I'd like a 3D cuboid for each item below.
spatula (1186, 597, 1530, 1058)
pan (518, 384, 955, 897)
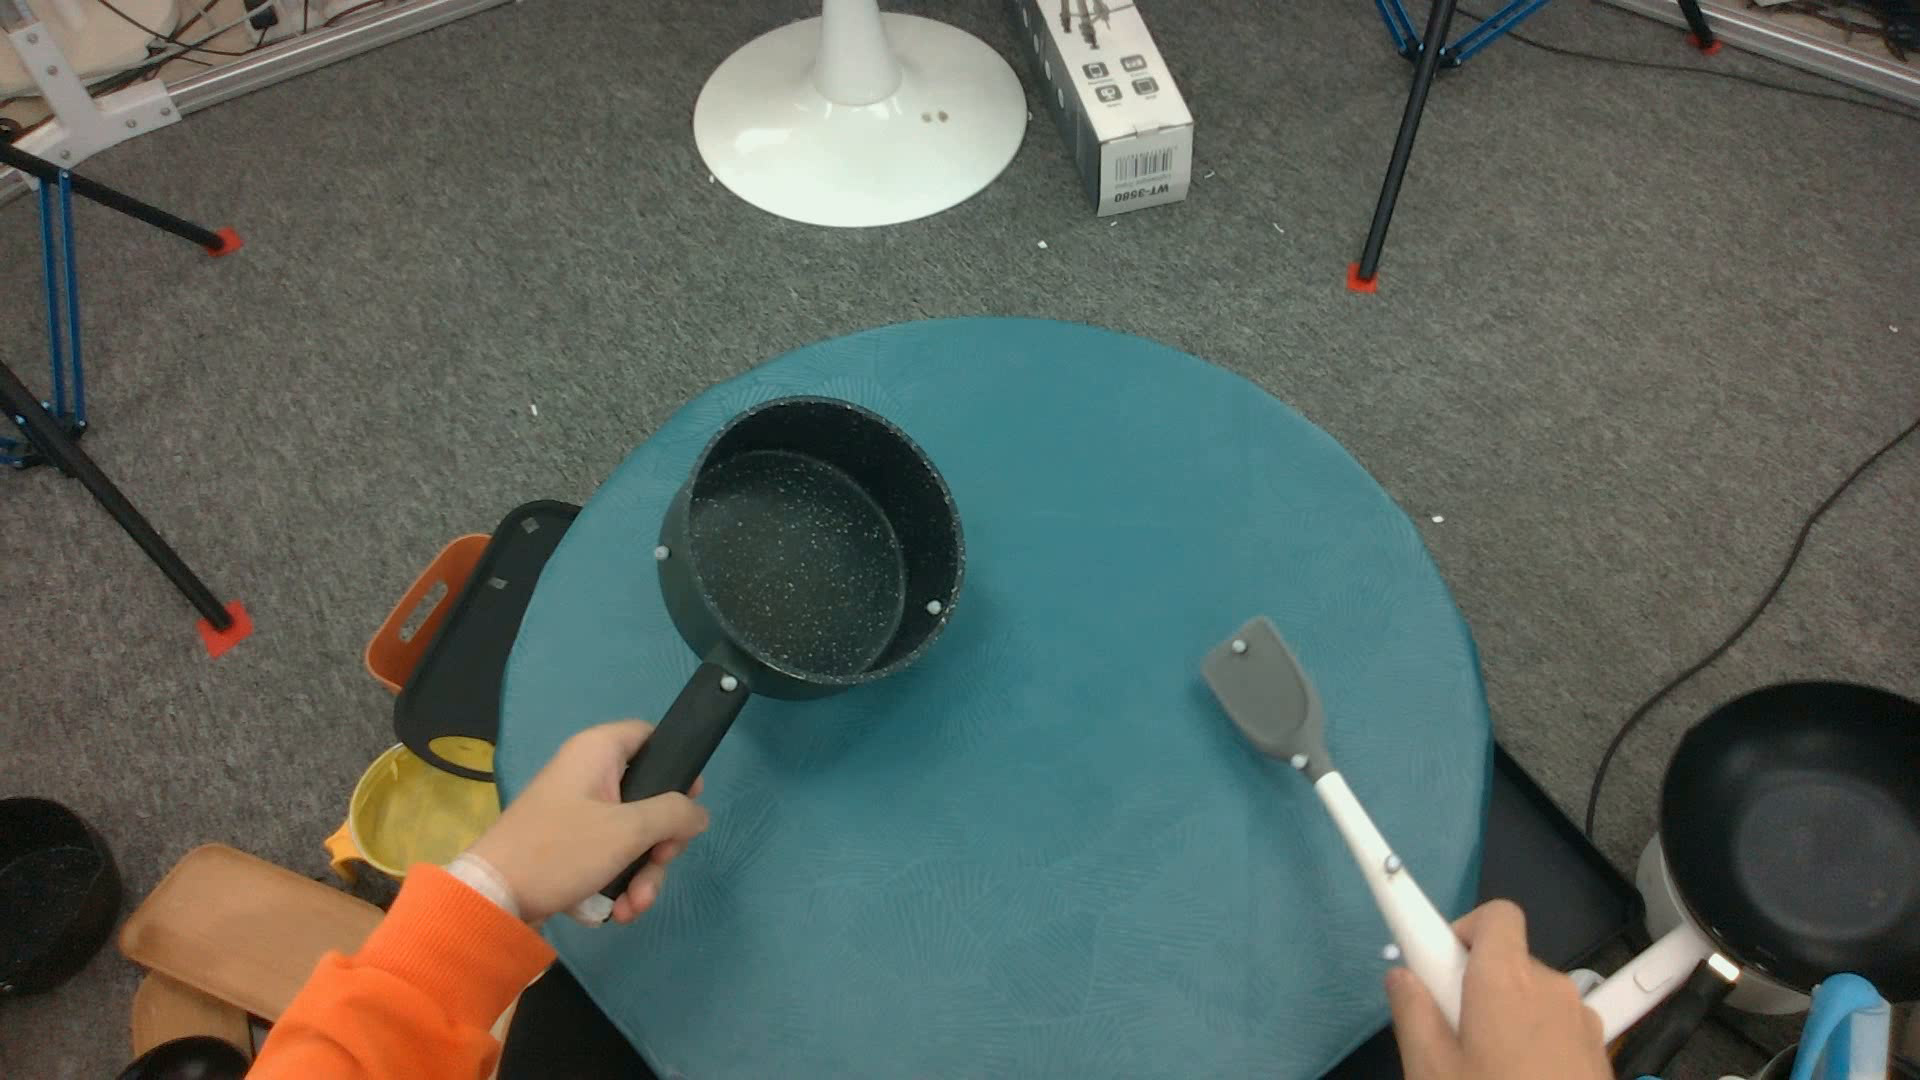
[{"bbox_3d":[0.200,0.138,0.725,0.058,0.032,0.288,-46,39,17],"label":"spatula"},{"bbox_3d":[-0.132,0.058,0.762,0.172,0.086,0.330,40,57,-9],"label":"pan"}]
